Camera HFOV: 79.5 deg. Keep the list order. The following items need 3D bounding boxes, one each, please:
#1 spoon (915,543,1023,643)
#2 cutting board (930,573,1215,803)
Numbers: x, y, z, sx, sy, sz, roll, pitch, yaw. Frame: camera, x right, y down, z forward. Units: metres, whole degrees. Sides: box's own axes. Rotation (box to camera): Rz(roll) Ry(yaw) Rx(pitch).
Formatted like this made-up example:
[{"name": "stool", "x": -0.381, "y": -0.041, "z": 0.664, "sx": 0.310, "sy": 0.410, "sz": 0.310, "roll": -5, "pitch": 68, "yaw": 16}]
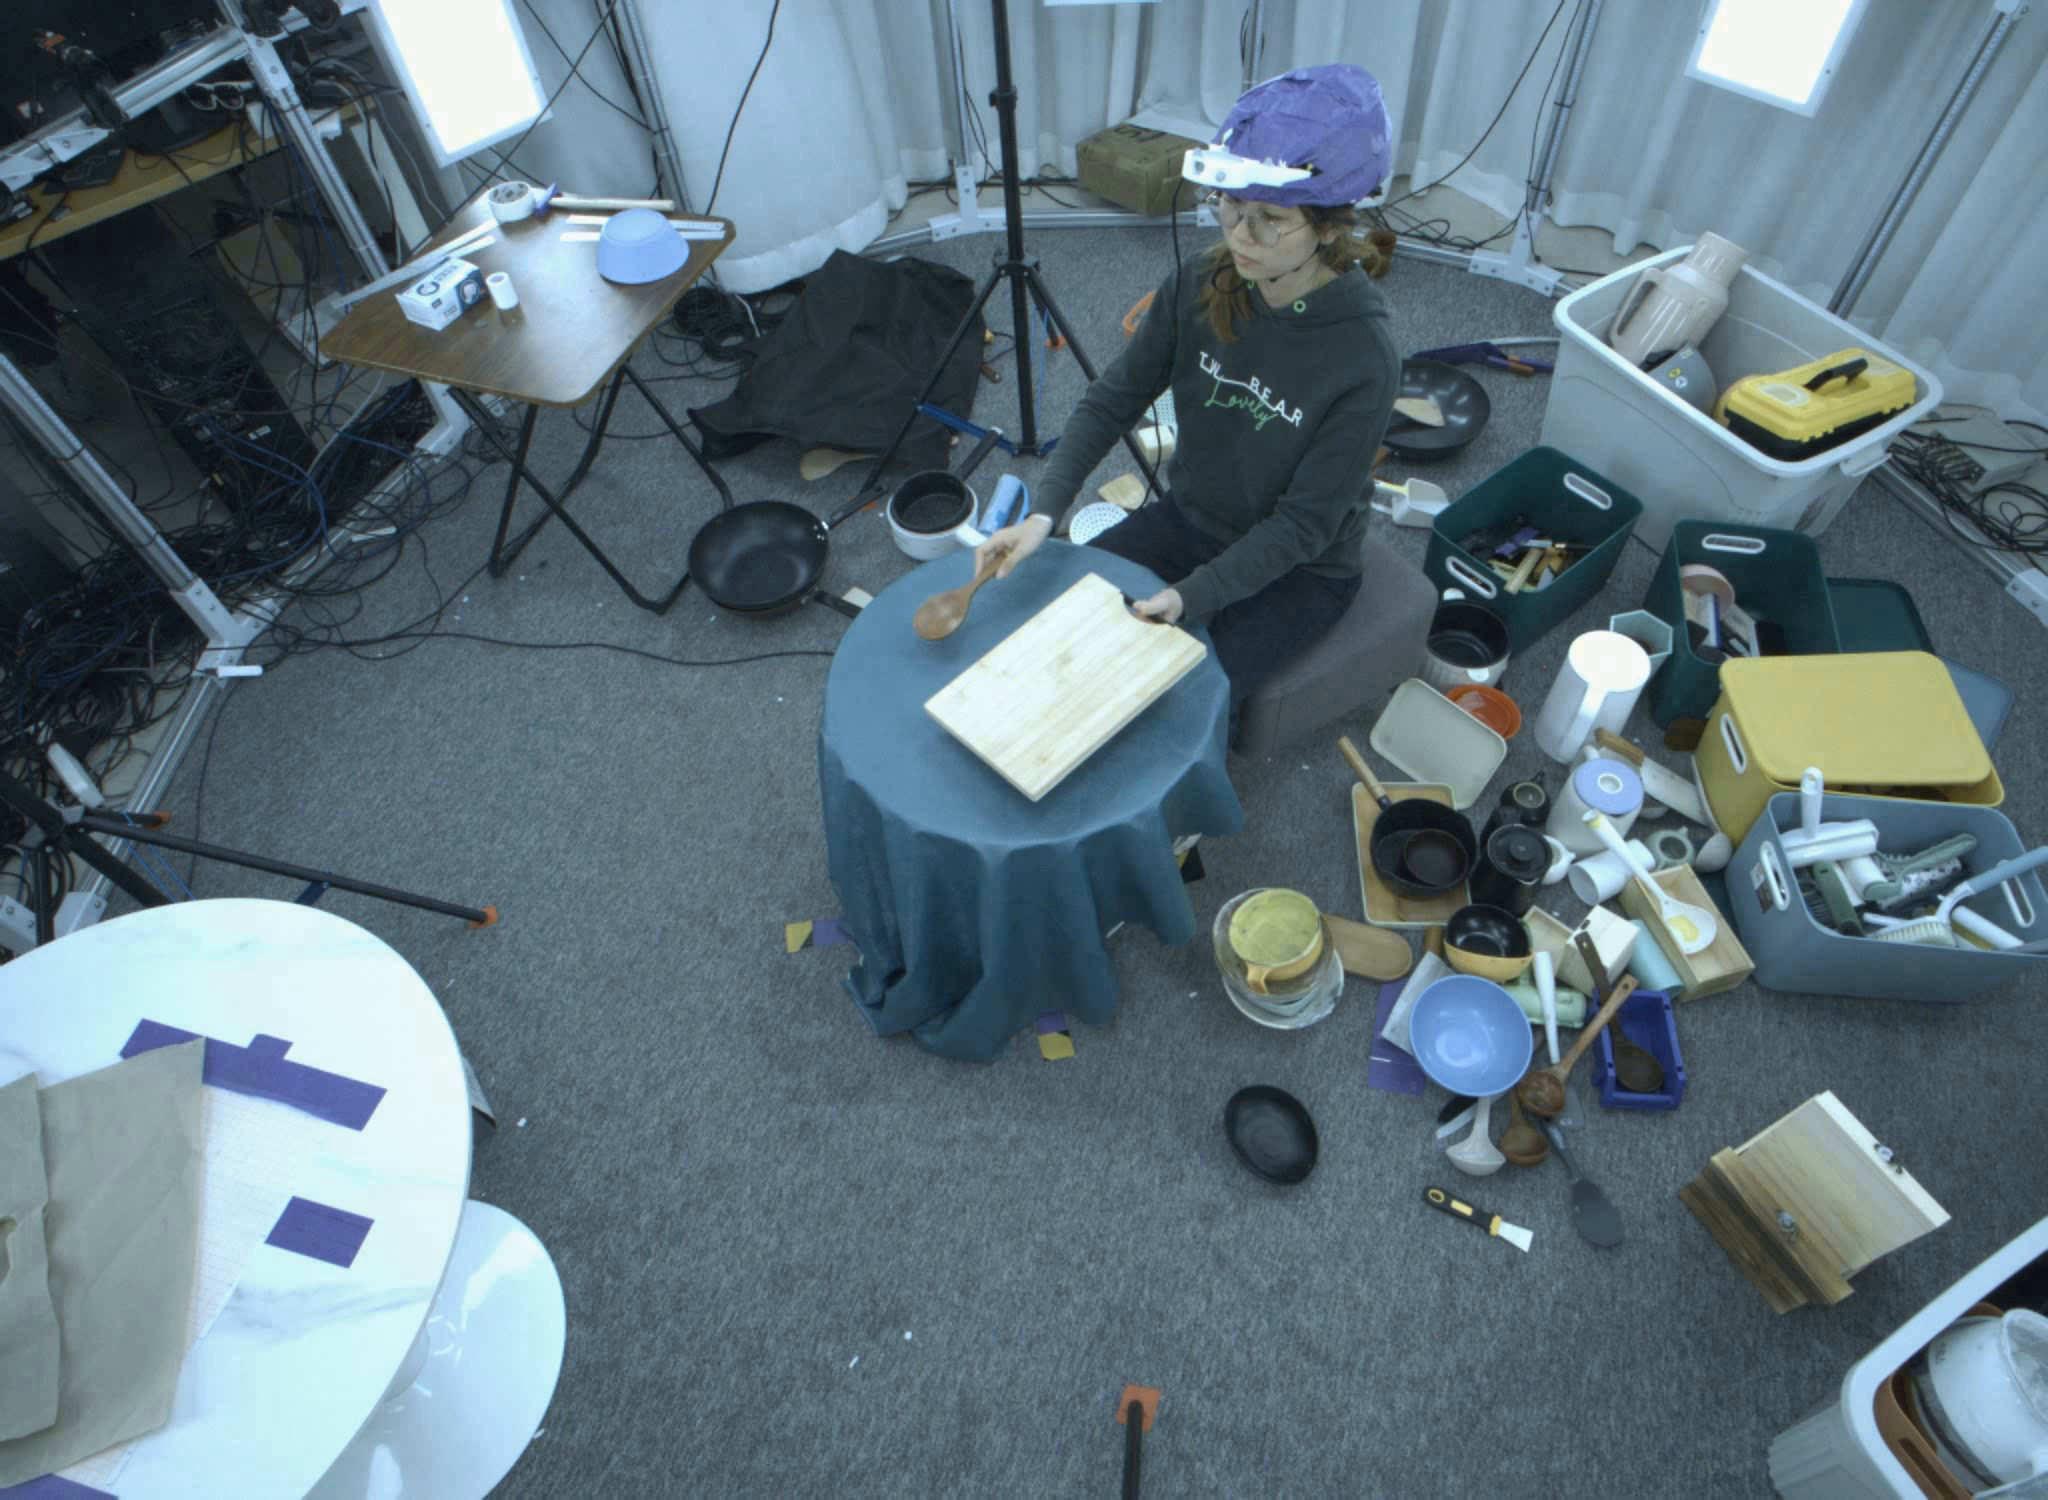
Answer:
[{"name": "spoon", "x": -0.081, "y": -0.243, "z": 1.892, "sx": 0.074, "sy": 0.017, "sz": 0.216, "roll": 39, "pitch": 76, "yaw": 24}, {"name": "cutting board", "x": 0.067, "y": -0.100, "z": 1.771, "sx": 0.350, "sy": 0.024, "sz": 0.245, "roll": -41, "pitch": 59, "yaw": -19}]
